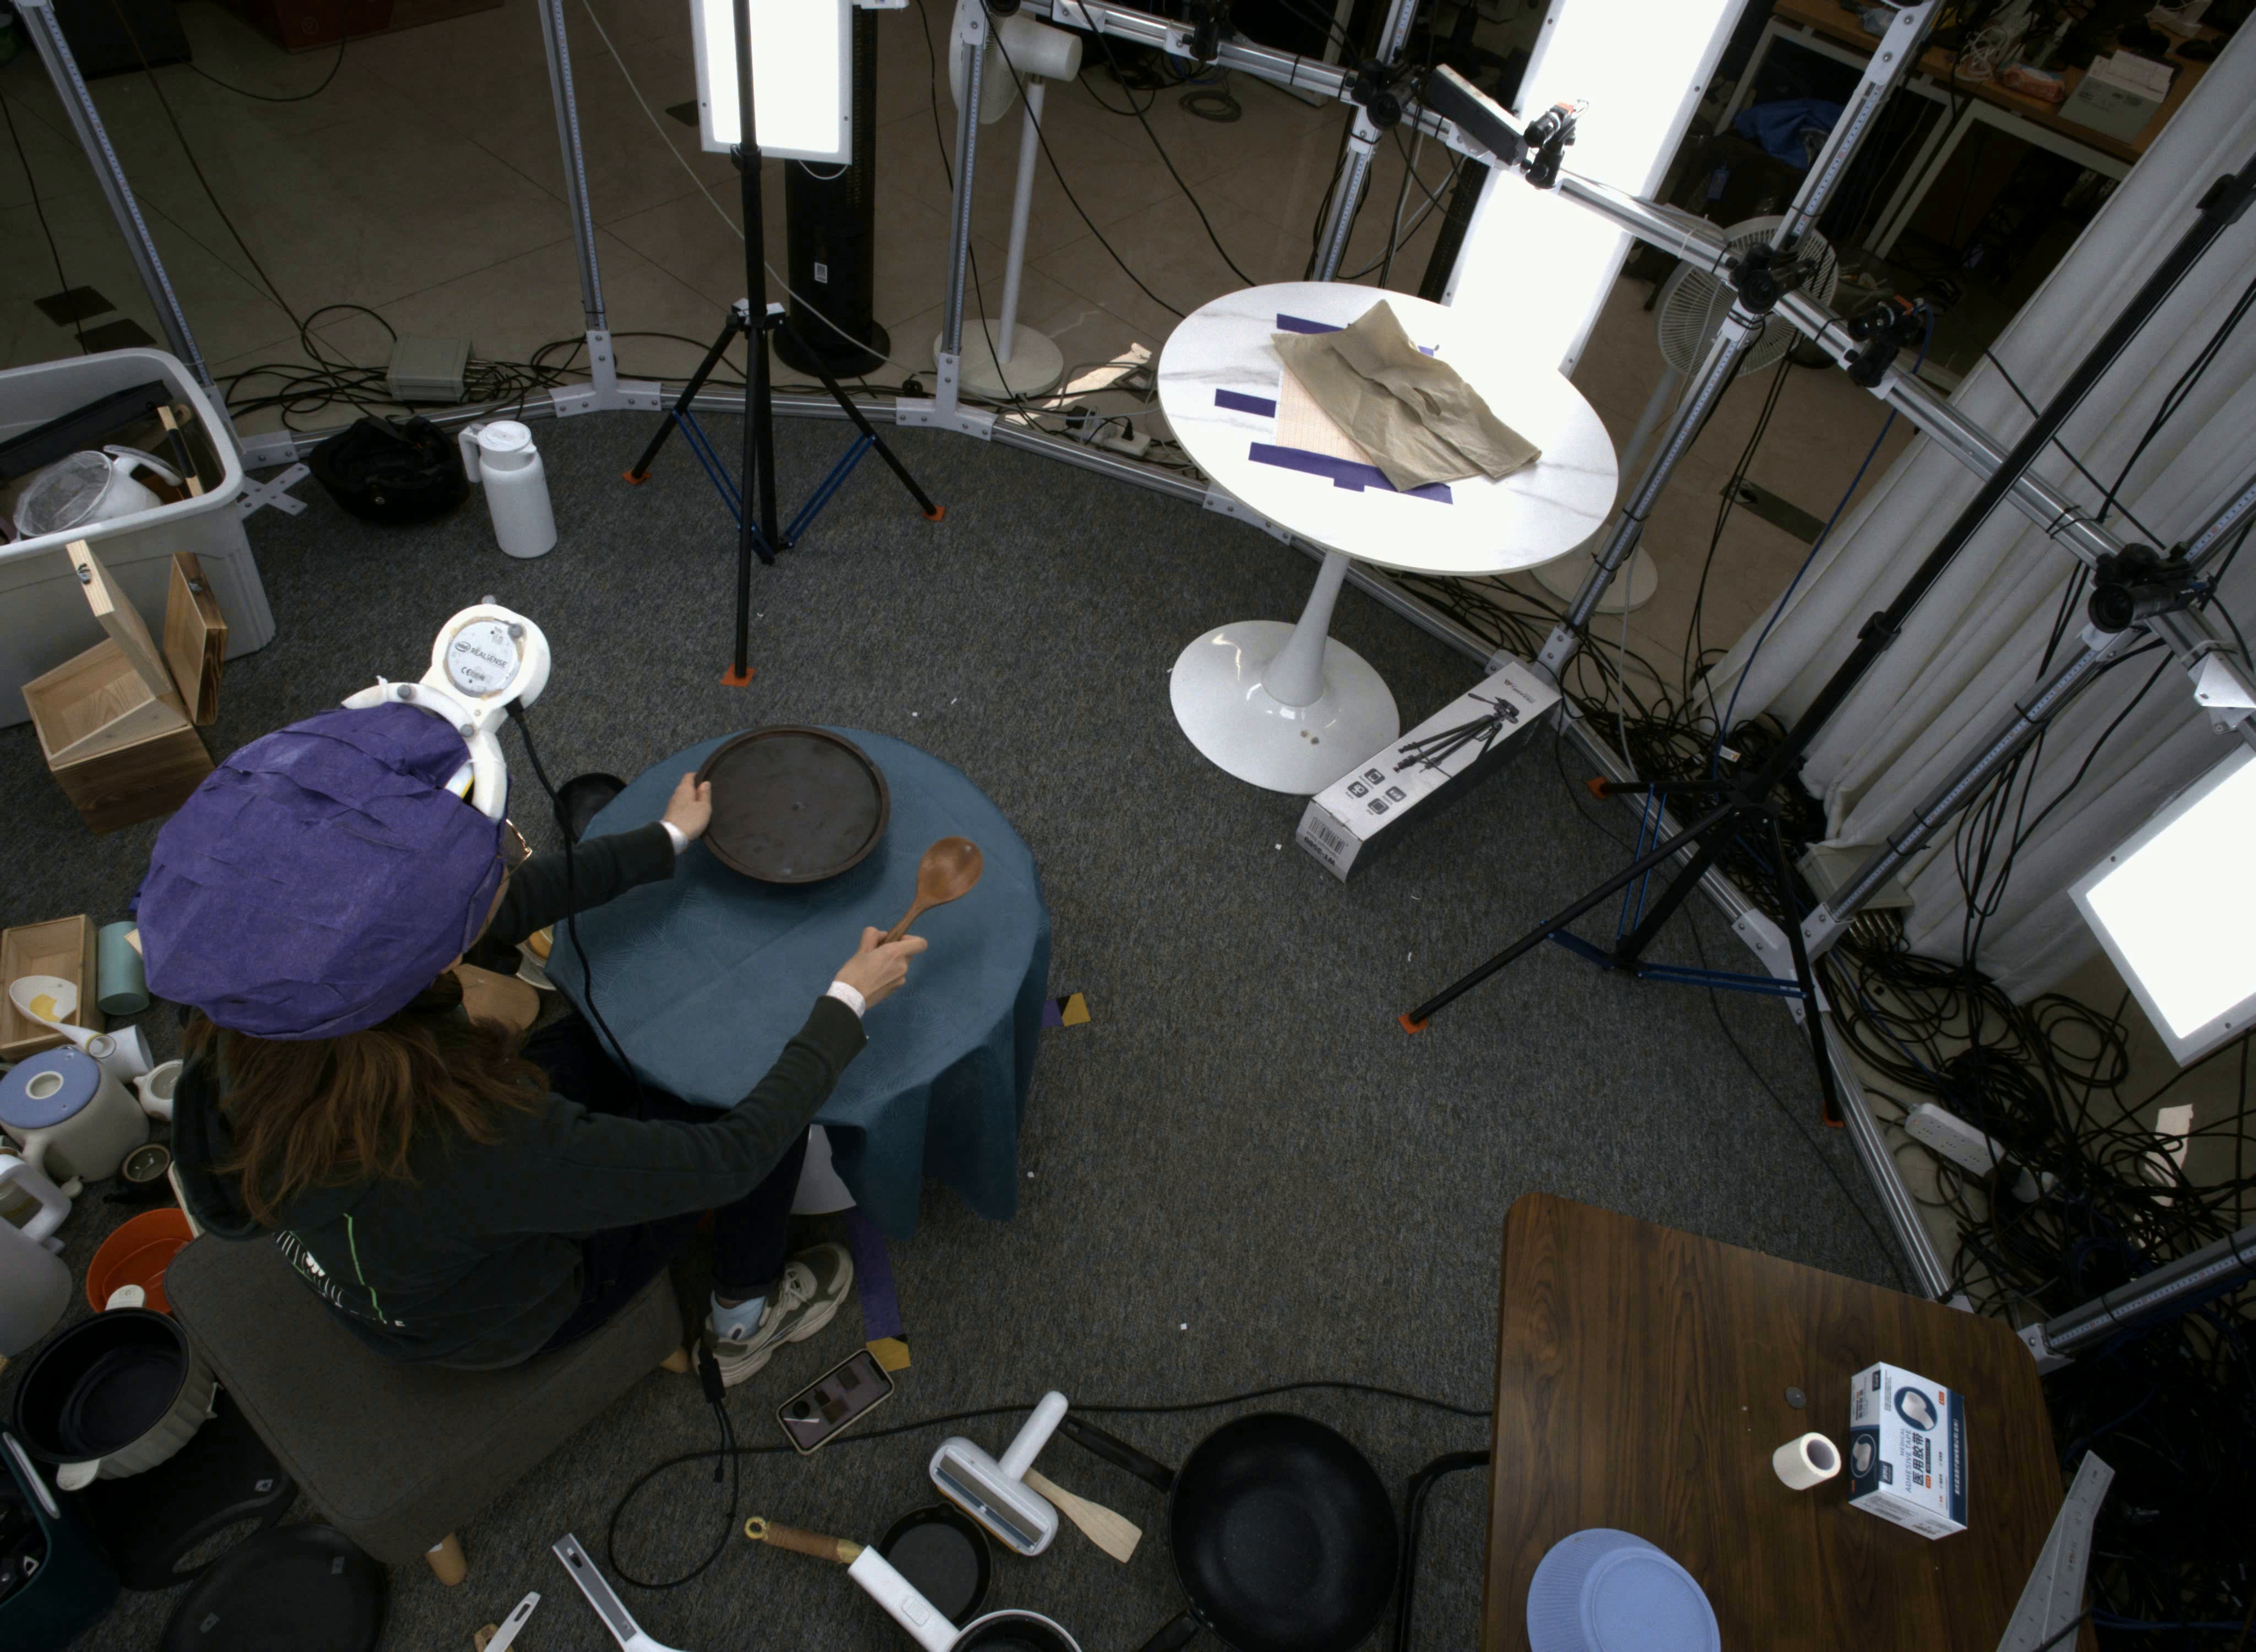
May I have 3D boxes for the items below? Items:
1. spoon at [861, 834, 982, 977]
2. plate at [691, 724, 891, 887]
[{"bbox_3d":[-0.255,0.096,1.586,0.076,0.017,0.215,39,62,-5],"label":"spoon"},{"bbox_3d":[-0.435,-0.029,1.679,0.255,0.029,0.250,10,53,-11],"label":"plate"}]
